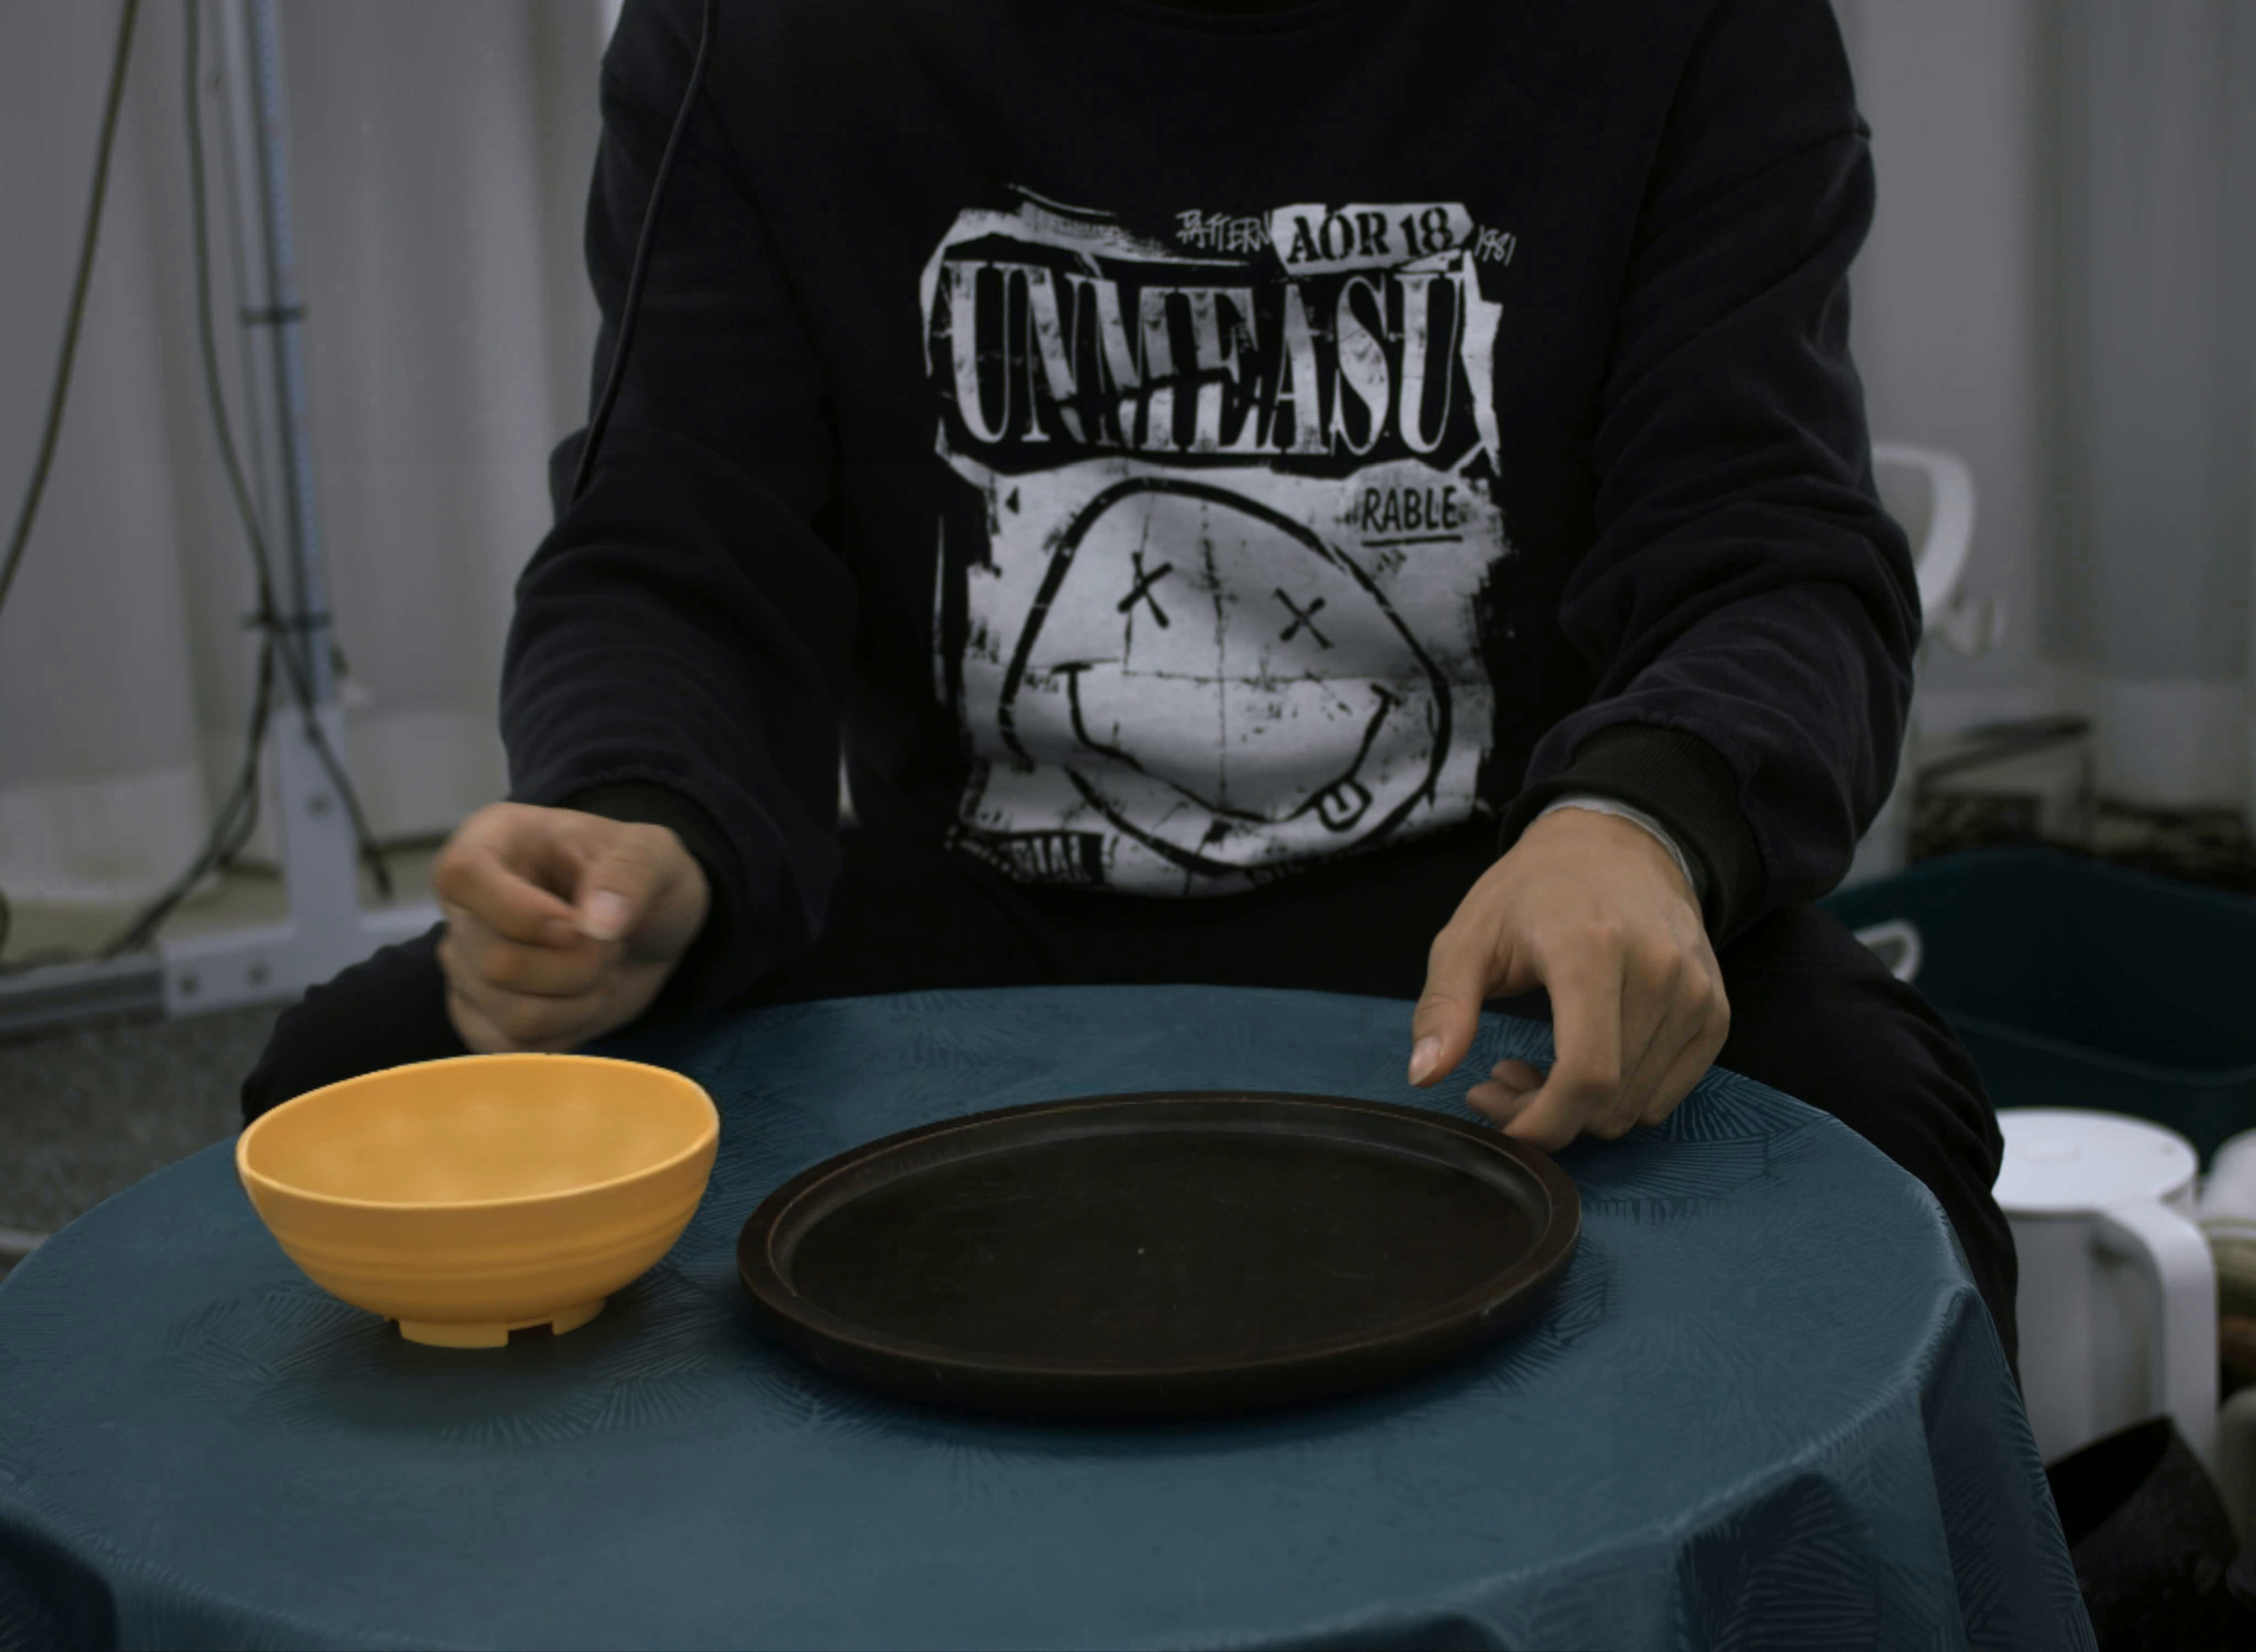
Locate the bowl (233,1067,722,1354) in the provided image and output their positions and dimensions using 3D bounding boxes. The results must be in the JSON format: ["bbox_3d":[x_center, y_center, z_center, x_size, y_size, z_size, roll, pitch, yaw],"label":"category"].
[{"bbox_3d":[-0.192,0.119,1.629,0.145,0.060,0.146,-1,13,0],"label":"bowl"}]

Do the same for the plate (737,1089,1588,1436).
[{"bbox_3d":[0.010,0.127,1.623,0.254,0.029,0.256,-4,14,1],"label":"plate"}]
